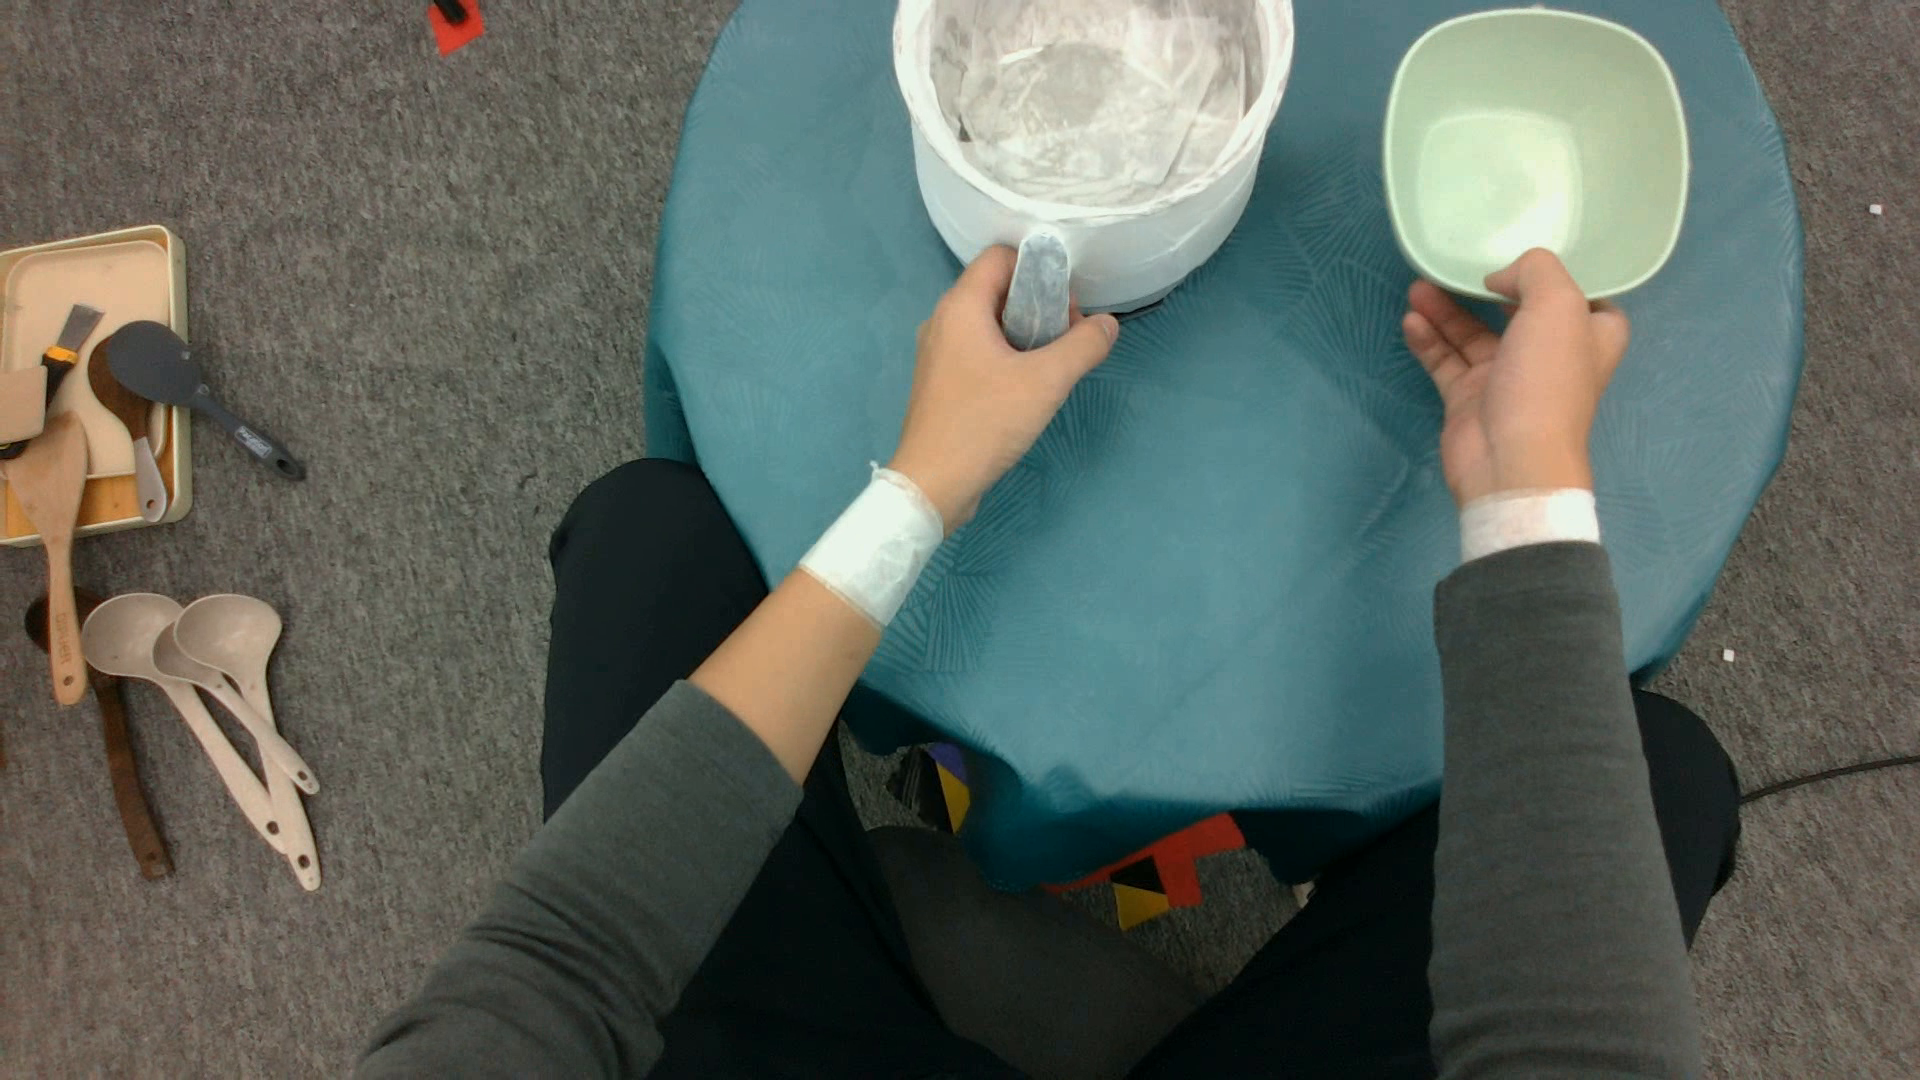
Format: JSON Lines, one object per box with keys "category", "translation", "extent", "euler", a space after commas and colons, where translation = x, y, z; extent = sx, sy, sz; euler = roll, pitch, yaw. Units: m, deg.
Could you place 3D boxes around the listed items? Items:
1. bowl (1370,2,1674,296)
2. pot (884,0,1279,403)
{"category": "bowl", "translation": [0.258, -0.178, 0.656], "extent": [0.151, 0.058, 0.151], "euler": [0, 84, 0]}
{"category": "pot", "translation": [0.051, -0.189, 0.674], "extent": [0.178, 0.136, 0.234], "euler": [11, 79, 5]}
